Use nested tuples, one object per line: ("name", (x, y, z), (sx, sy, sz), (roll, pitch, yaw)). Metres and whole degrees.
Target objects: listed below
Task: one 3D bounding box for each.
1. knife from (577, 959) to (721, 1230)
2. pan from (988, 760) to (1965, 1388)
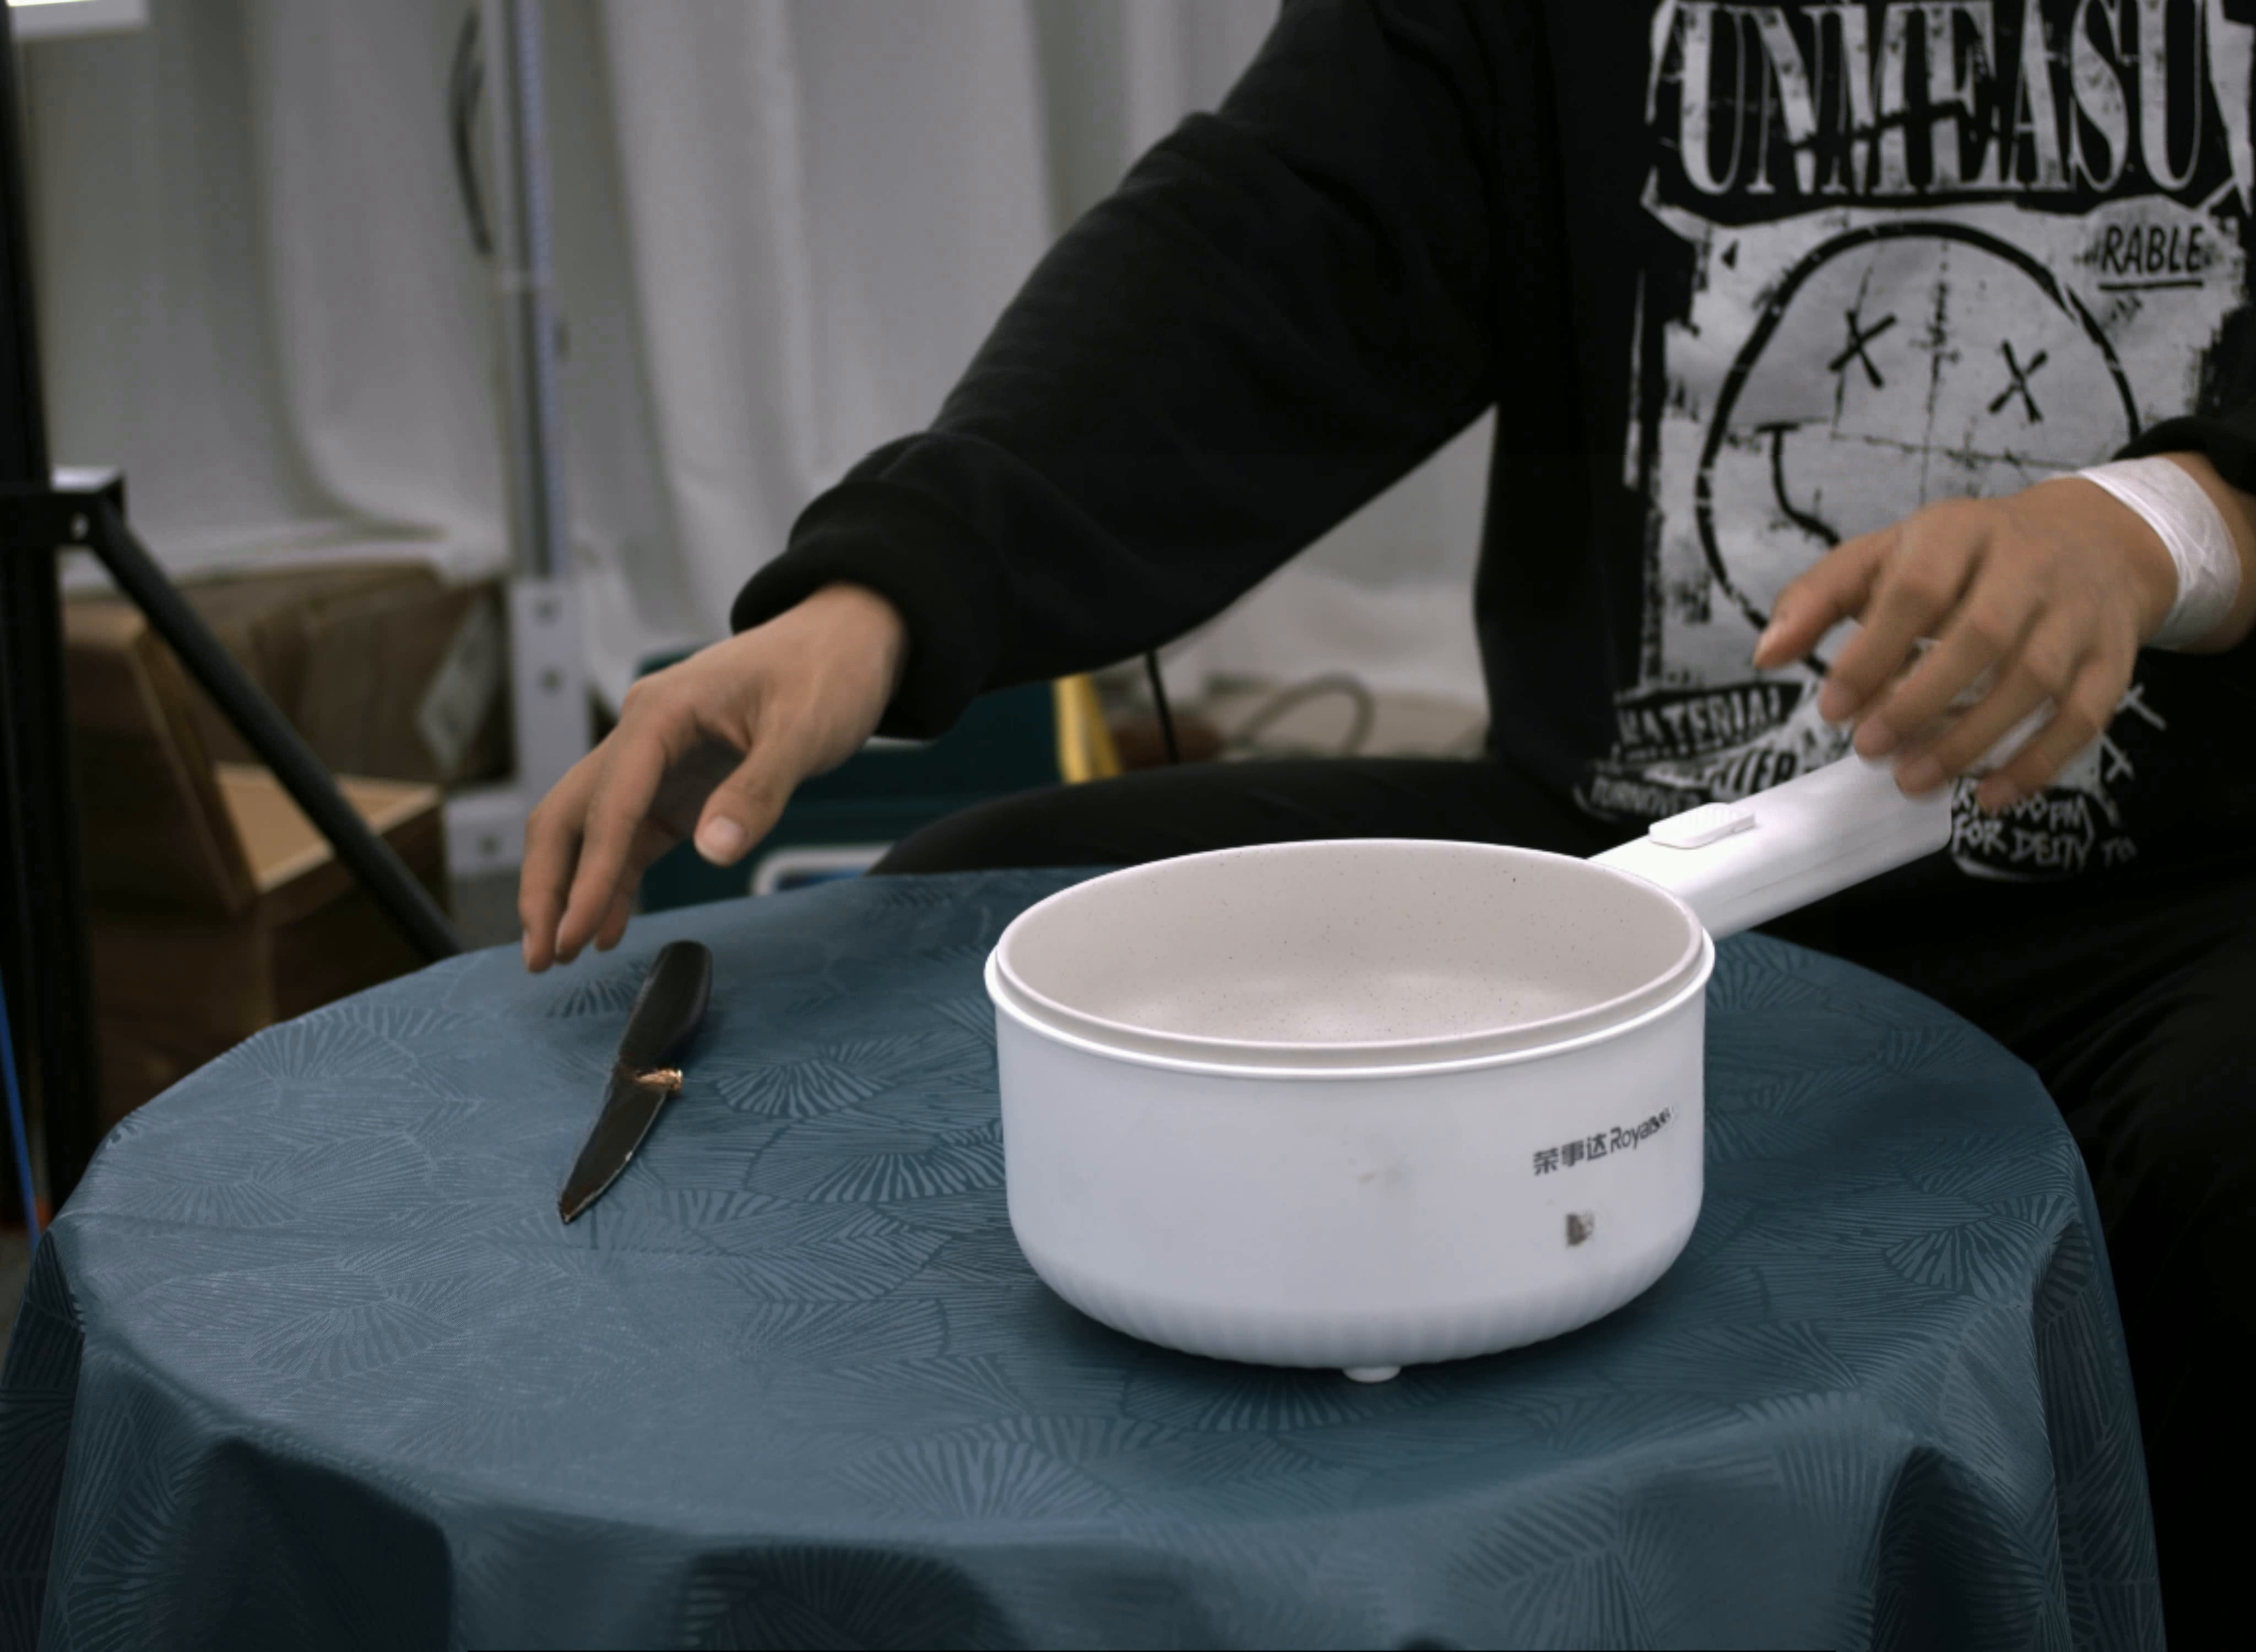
("knife", (-0.151, 0.082, 1.656), (0.026, 0.017, 0.225), (14, 18, 1))
("pan", (0.117, 0.064, 1.514), (0.346, 0.102, 0.206), (-16, 19, -42))
